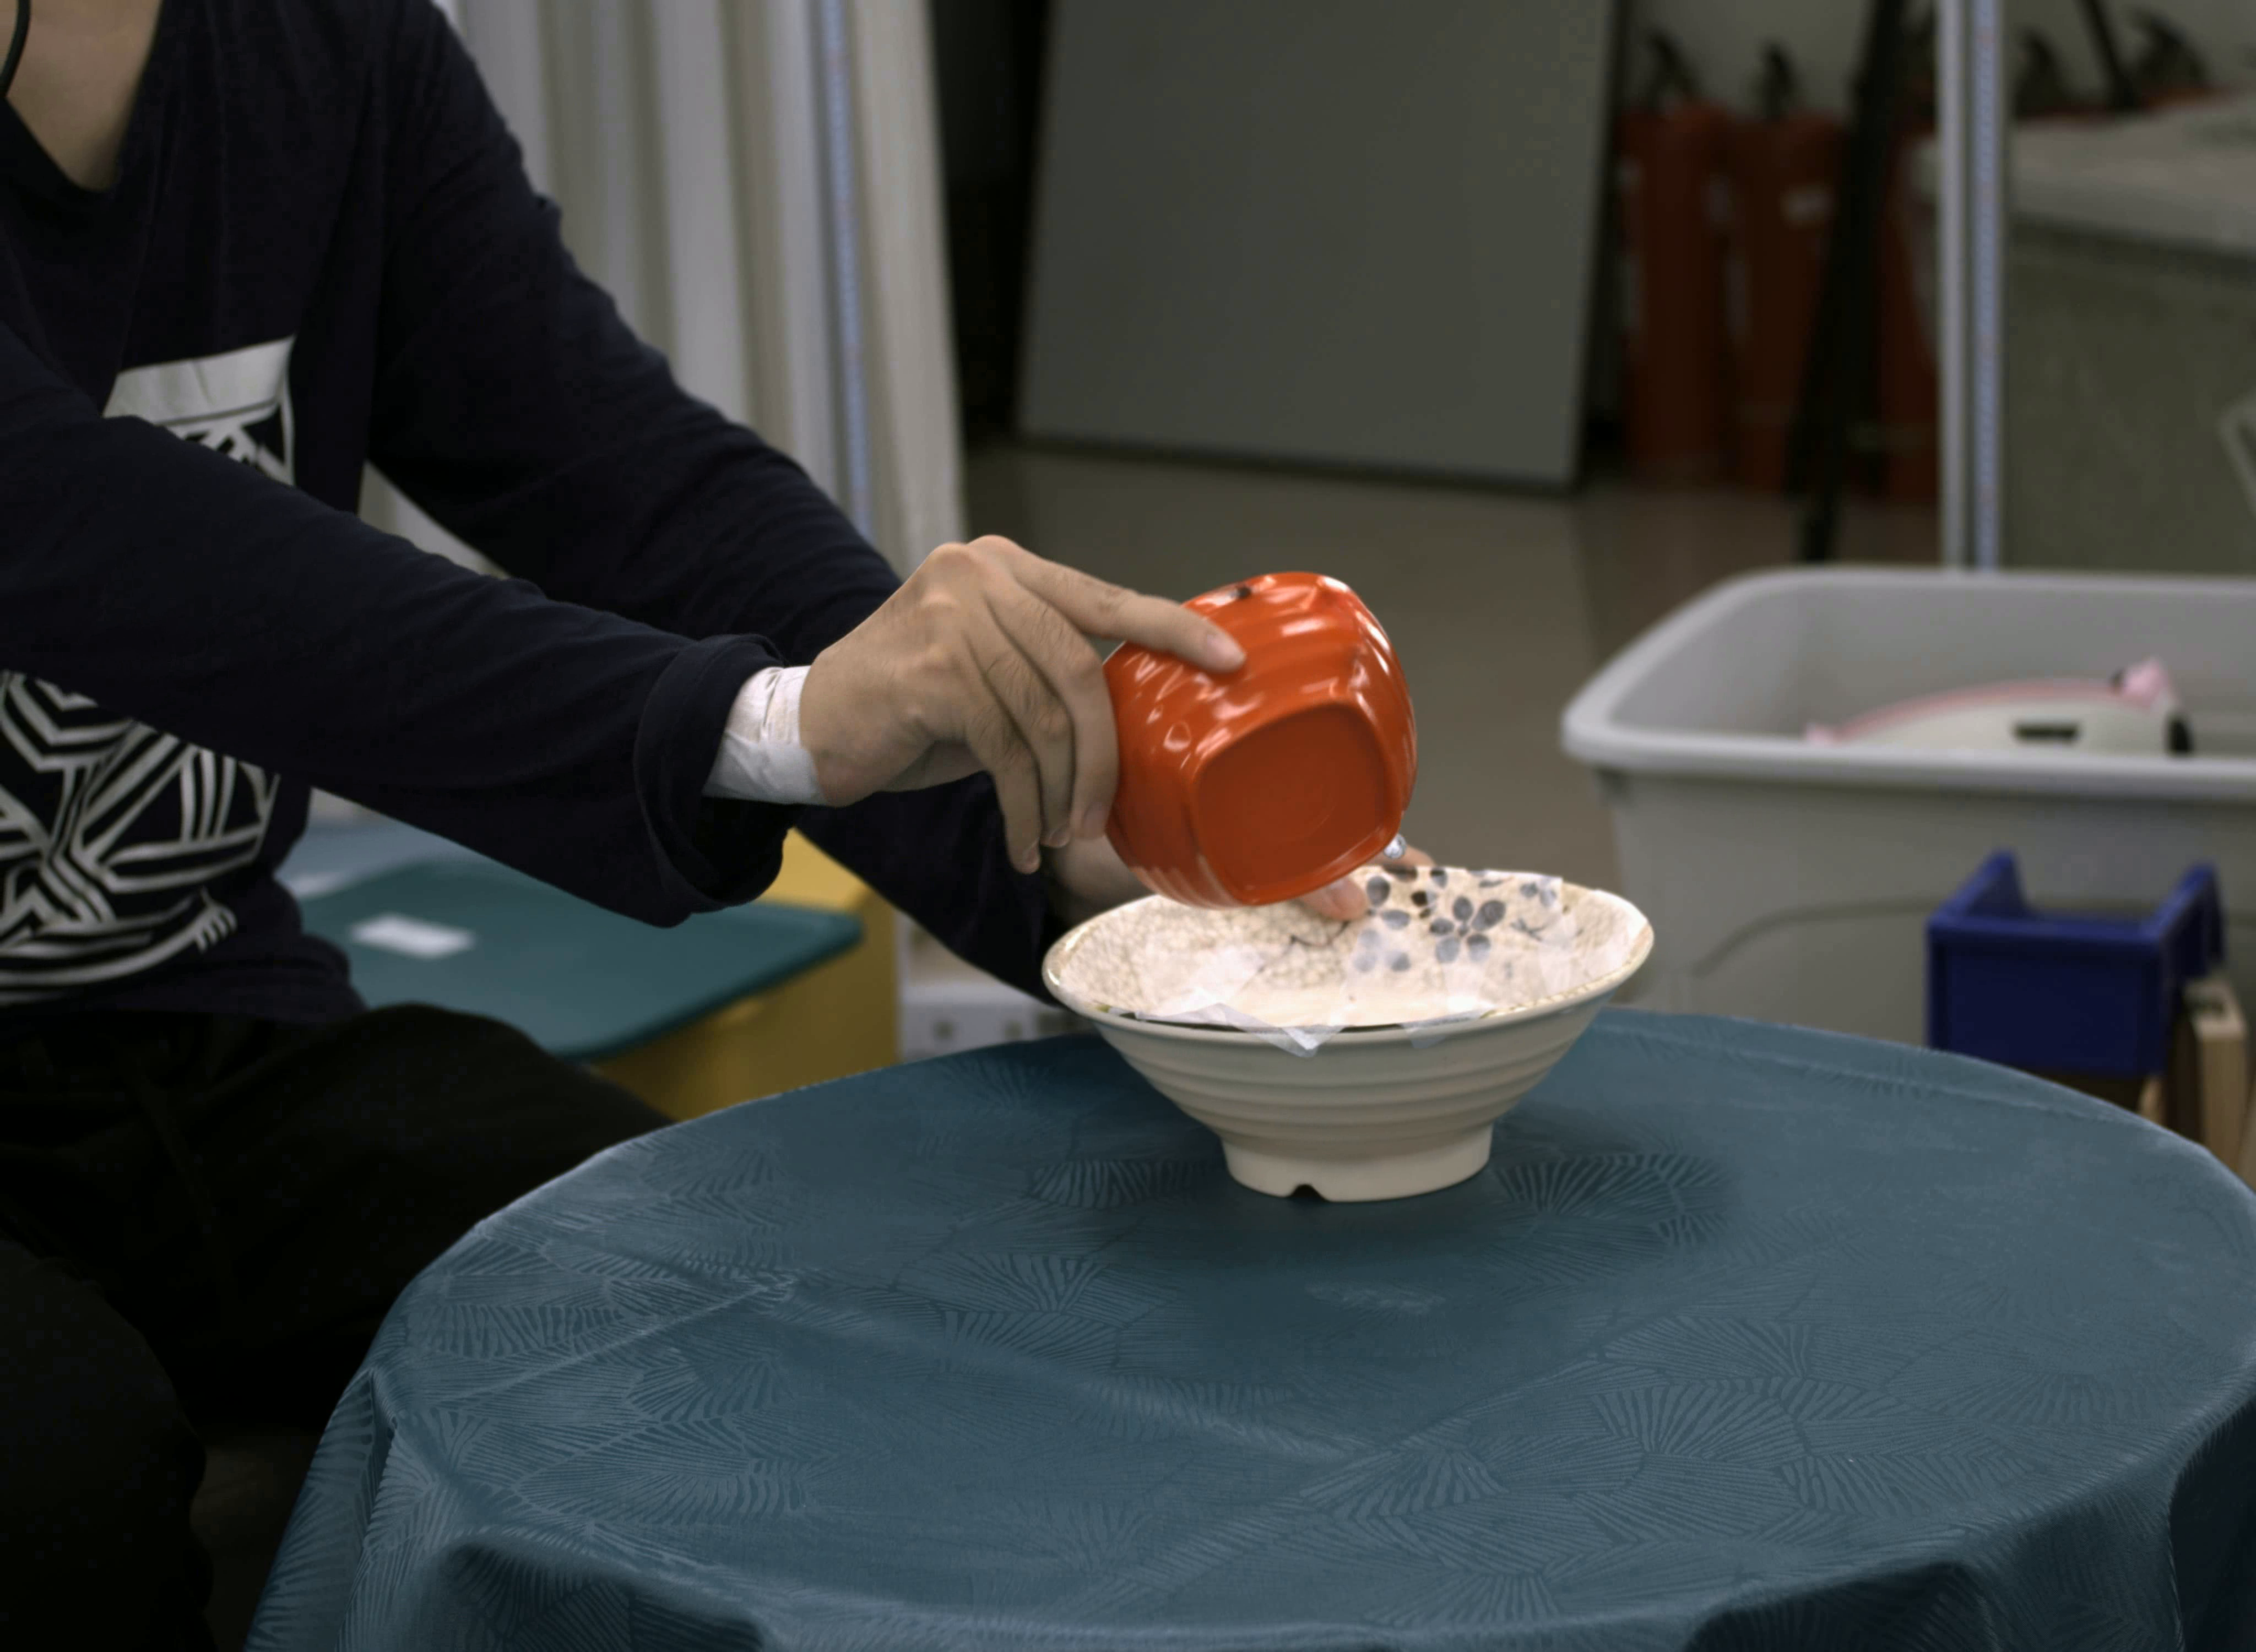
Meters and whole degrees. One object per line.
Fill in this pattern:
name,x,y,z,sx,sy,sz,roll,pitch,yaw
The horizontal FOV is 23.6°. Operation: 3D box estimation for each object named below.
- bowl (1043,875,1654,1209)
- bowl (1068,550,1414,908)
bowl,0.074,0.077,1.776,0.201,0.079,0.204,-4,13,0
bowl,0.042,-0.022,1.679,0.116,0.120,0.052,-7,26,-15
